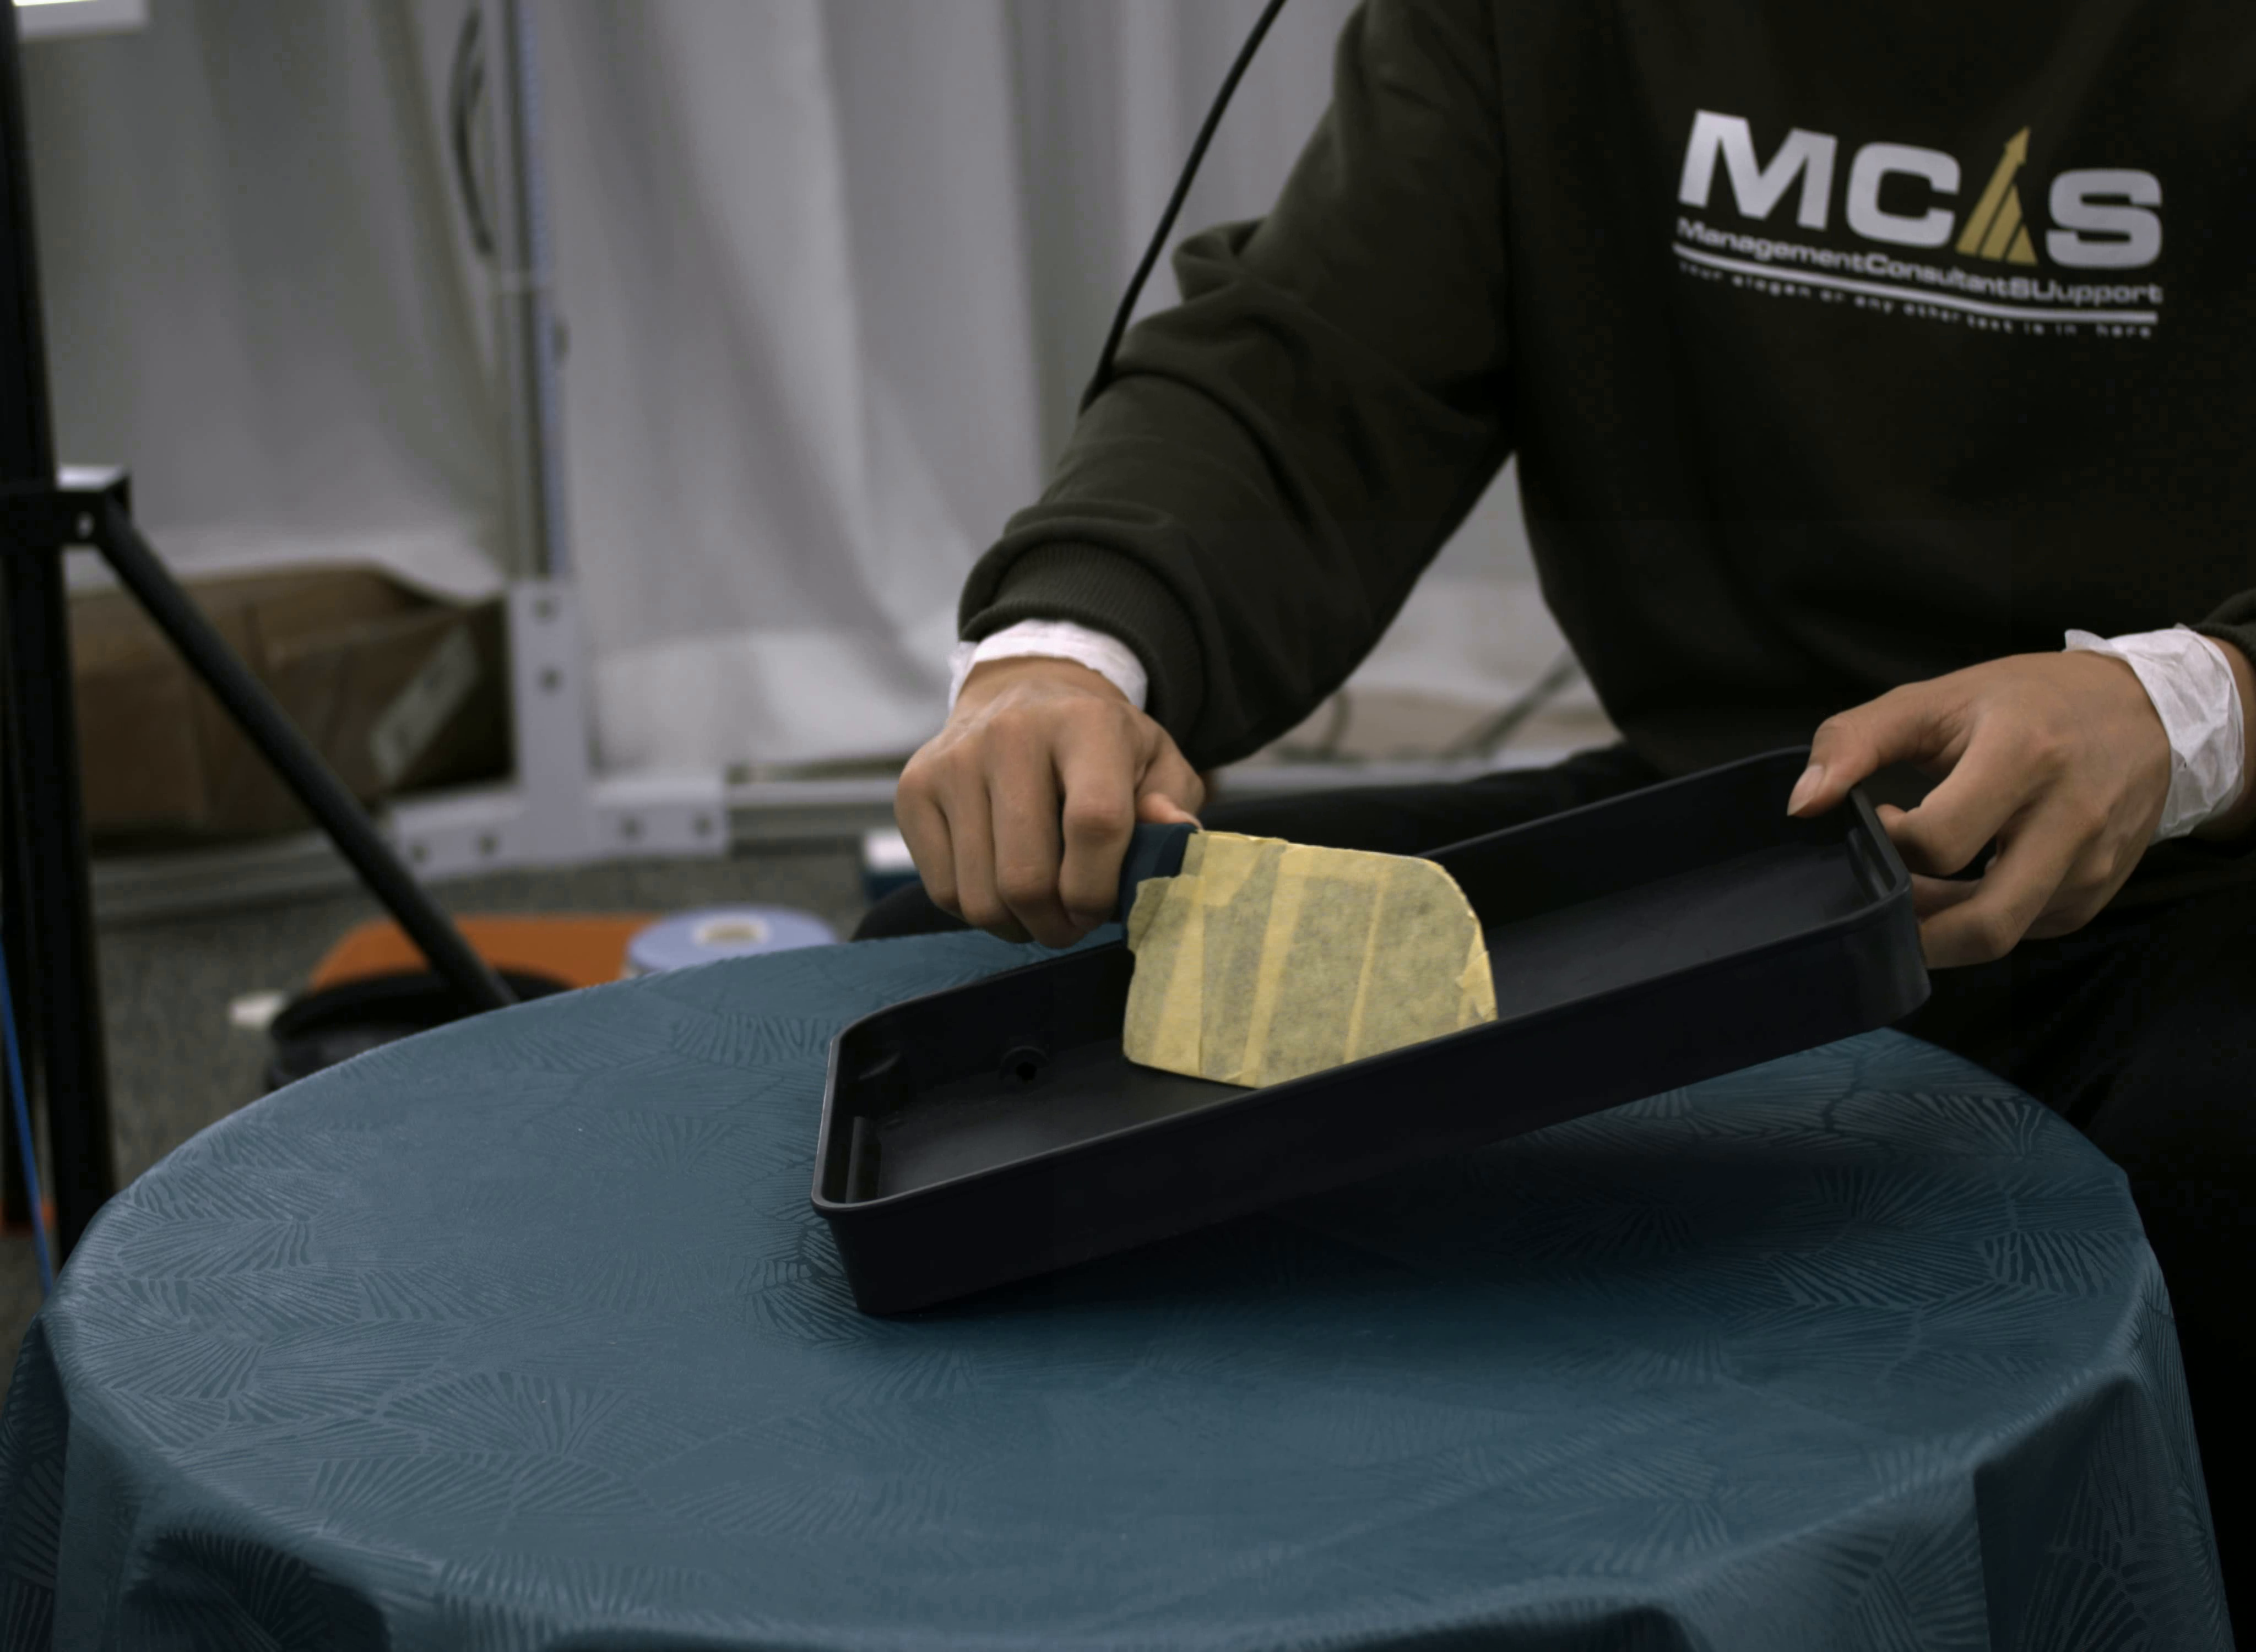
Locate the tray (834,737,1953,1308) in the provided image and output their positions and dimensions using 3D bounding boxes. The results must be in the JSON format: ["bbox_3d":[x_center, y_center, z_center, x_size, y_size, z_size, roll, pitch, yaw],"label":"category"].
[{"bbox_3d":[0.072,0.054,1.530,0.317,0.037,0.185,-17,14,4],"label":"tray"}]

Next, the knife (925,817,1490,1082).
[{"bbox_3d":[0.019,0.036,1.579,0.026,0.081,0.296,17,-3,-33],"label":"knife"}]
